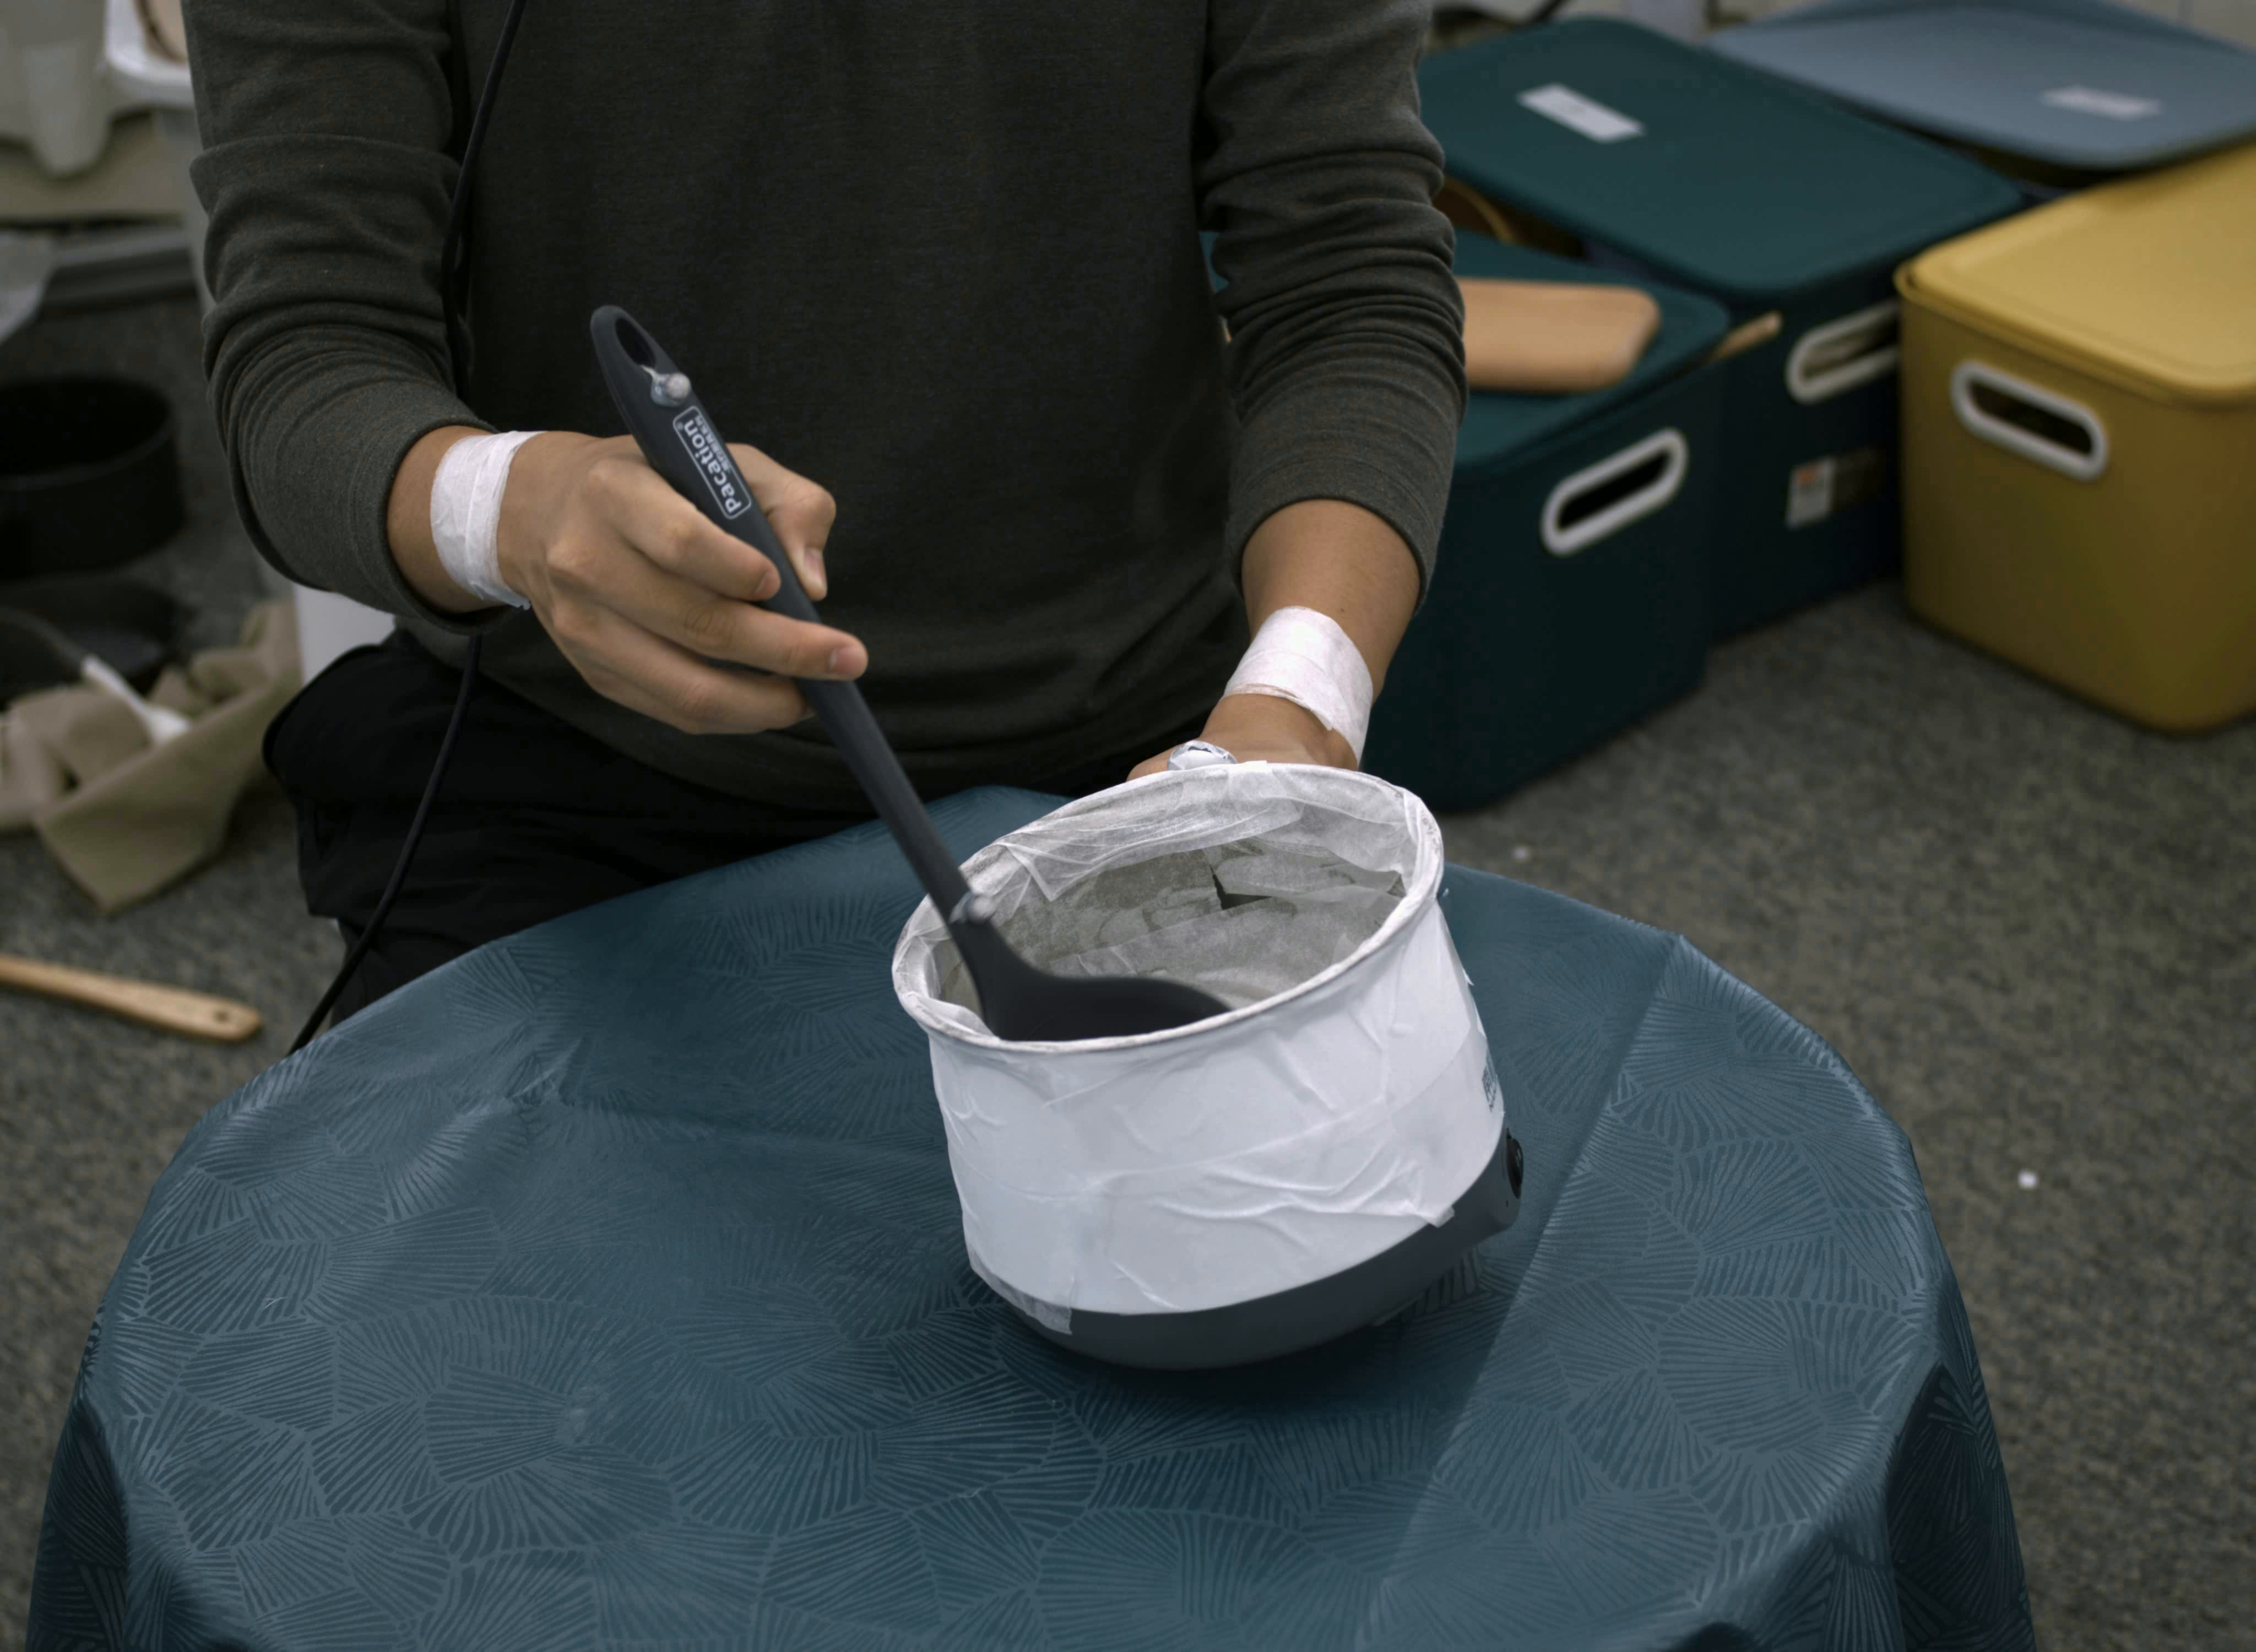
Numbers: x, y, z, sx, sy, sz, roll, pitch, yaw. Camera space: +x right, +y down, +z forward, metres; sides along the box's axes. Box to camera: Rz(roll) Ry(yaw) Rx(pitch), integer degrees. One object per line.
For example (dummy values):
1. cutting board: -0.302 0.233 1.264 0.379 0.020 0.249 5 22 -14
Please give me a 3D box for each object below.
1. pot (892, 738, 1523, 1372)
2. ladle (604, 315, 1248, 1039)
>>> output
1. pot: 0.029 0.065 1.802 0.177 0.135 0.237 -10 25 10
2. ladle: -0.062 -0.032 1.750 0.063 0.313 0.087 -23 13 42
